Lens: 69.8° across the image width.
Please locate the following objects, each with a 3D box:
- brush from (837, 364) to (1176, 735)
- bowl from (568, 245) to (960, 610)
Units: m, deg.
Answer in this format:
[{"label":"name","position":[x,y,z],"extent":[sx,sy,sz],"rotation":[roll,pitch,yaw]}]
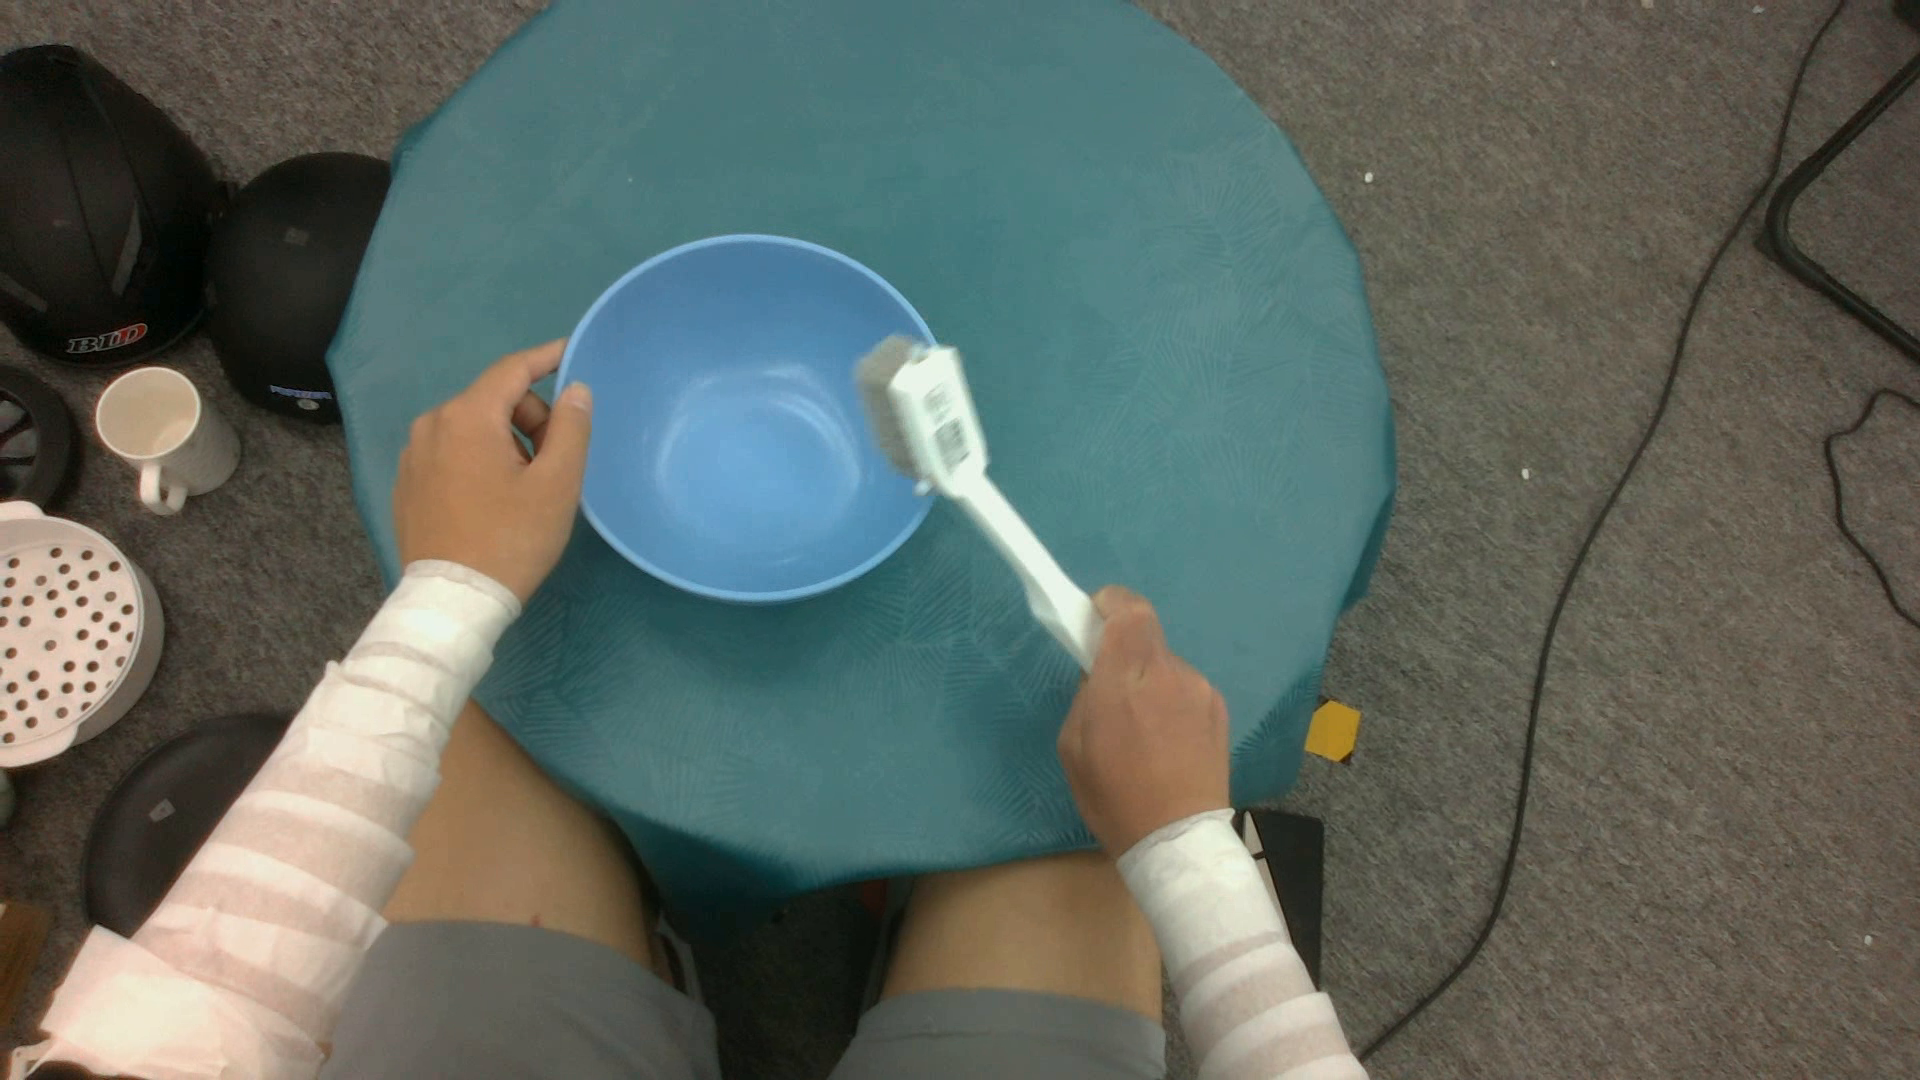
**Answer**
[{"label":"brush","position":[0.025,0.012,0.678],"extent":[0.243,0.050,0.034],"rotation":[50,57,-23]},{"label":"bowl","position":[-0.103,-0.048,0.738],"extent":[0.196,0.095,0.197],"rotation":[3,72,-8]}]
